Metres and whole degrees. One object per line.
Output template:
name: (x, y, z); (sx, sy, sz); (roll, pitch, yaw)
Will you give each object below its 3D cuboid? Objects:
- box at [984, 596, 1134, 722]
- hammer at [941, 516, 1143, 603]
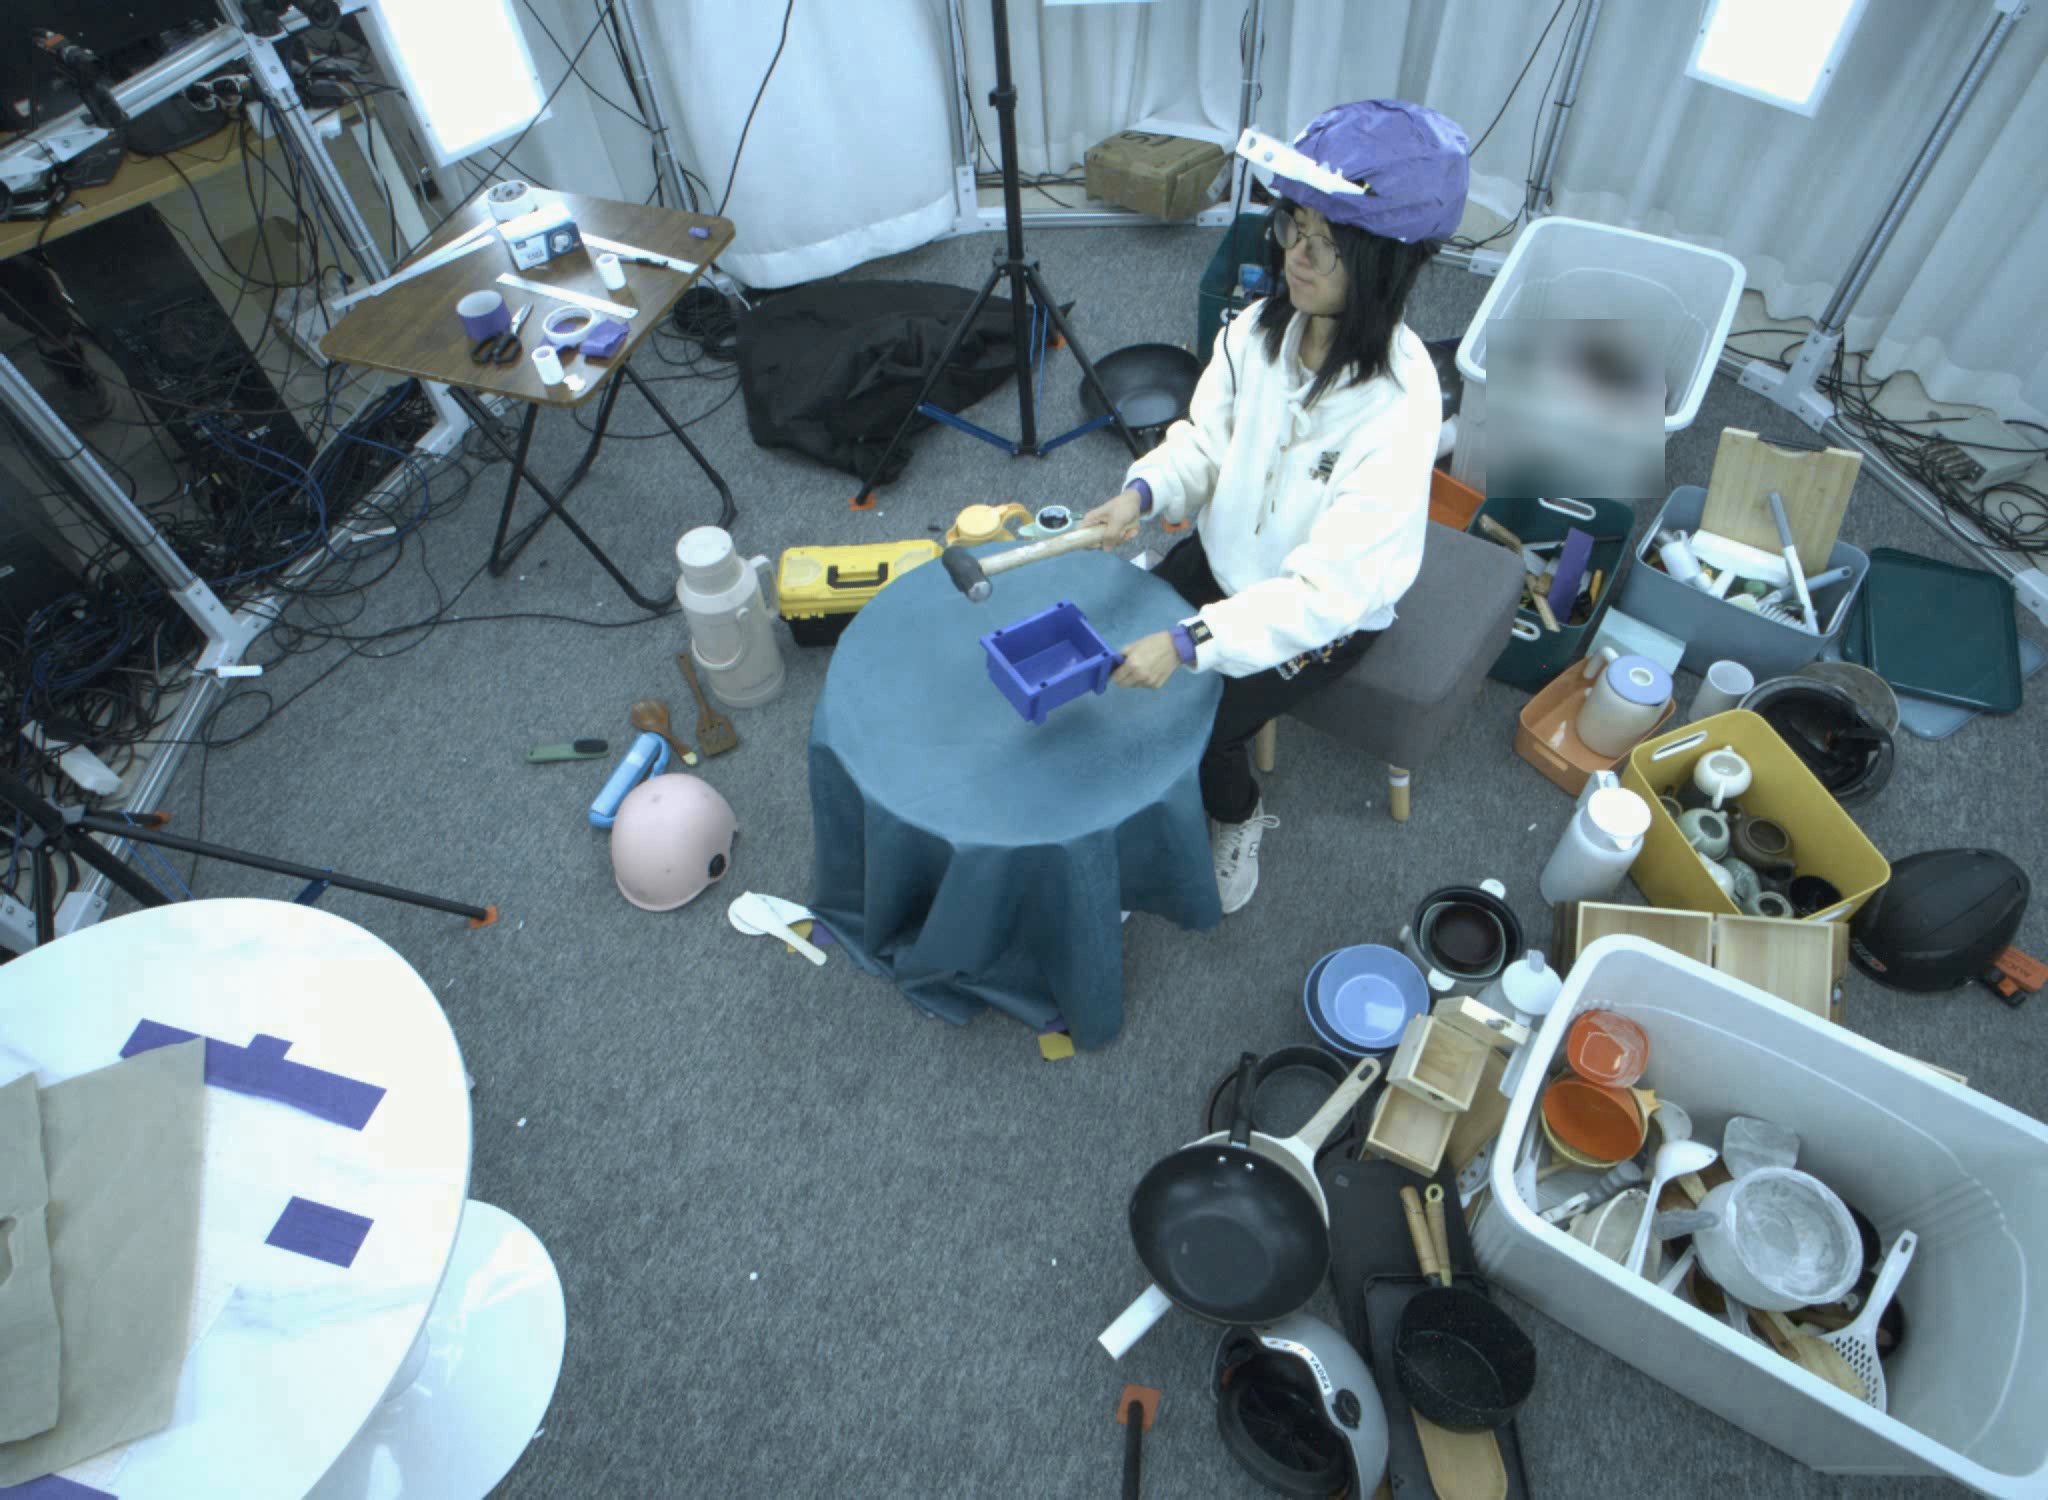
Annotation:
box: (0.049, -0.132, 1.722); (0.181, 0.082, 0.122); (-28, 62, -21)
hammer: (0.035, -0.299, 1.828); (0.308, 0.039, 0.105); (-19, 49, -18)
